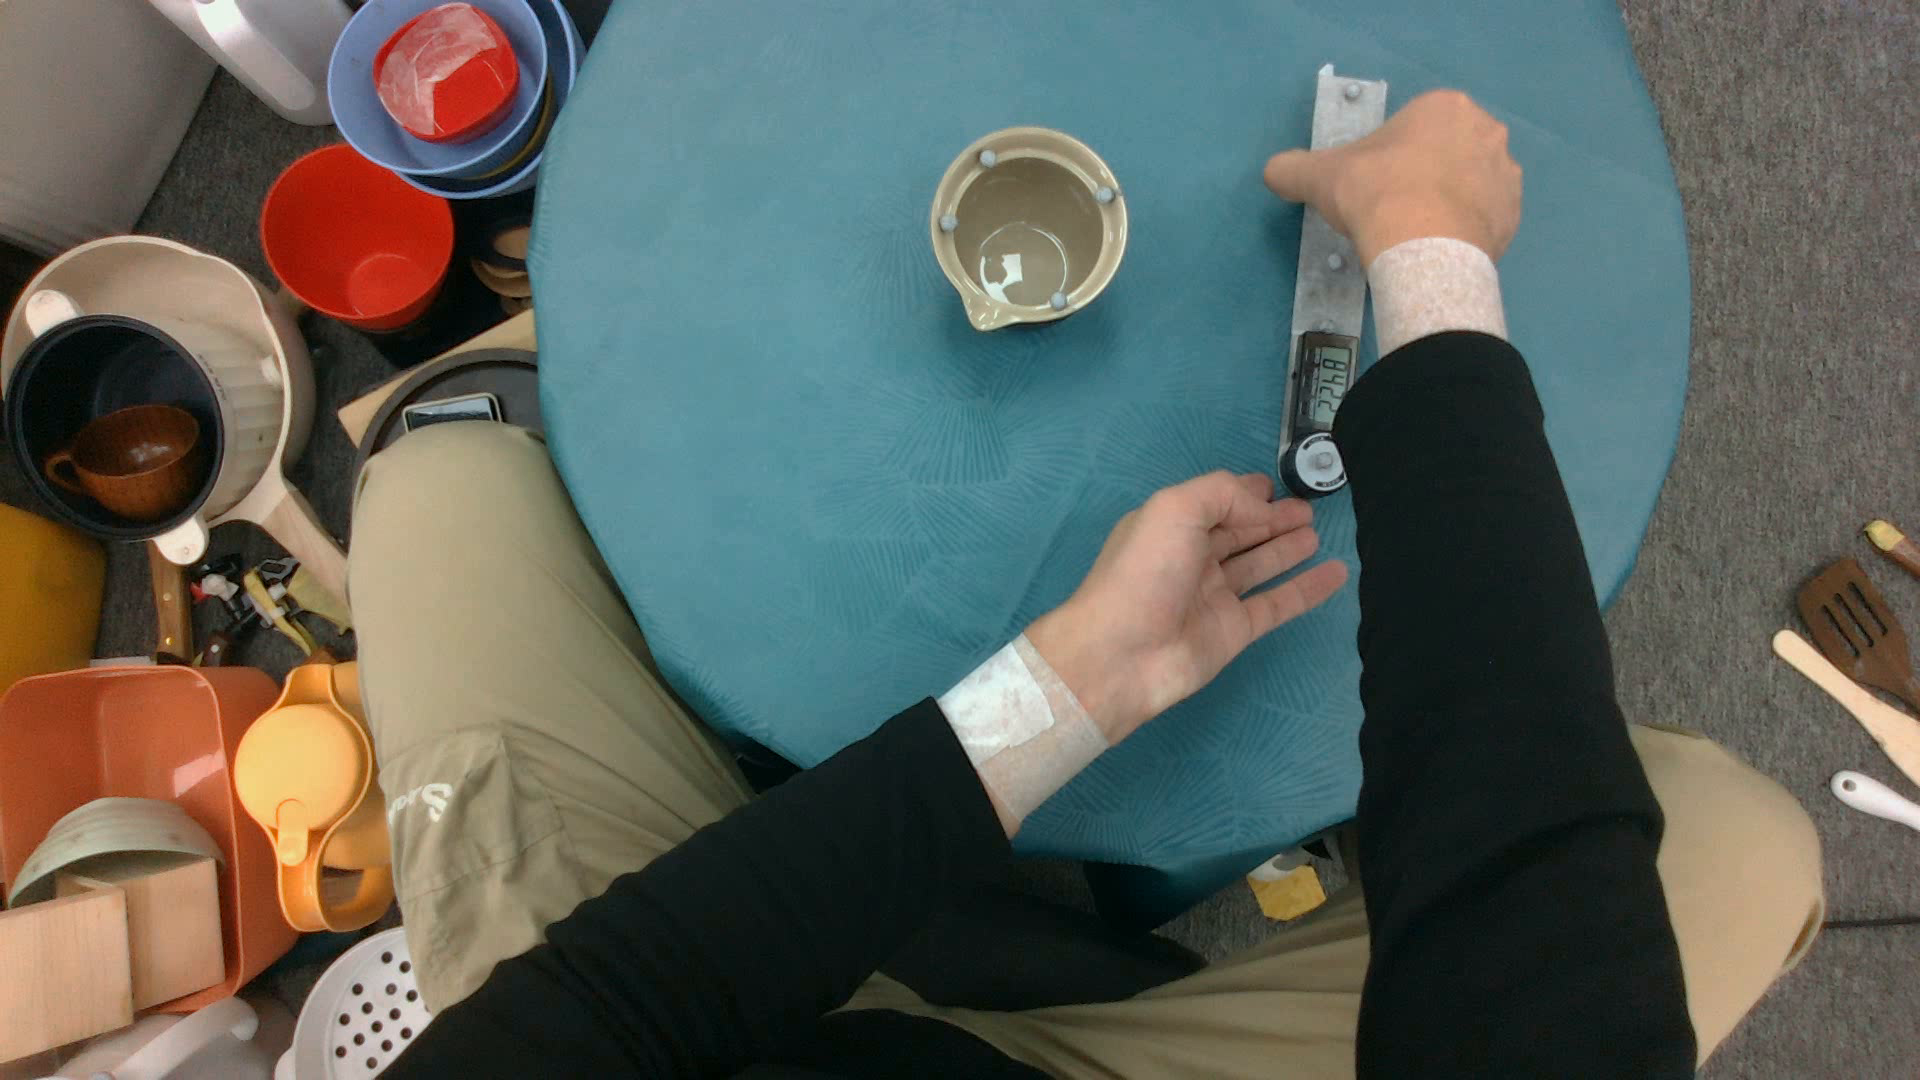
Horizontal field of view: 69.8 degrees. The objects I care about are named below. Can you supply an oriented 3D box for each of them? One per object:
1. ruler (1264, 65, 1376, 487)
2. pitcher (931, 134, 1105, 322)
[{"bbox_3d":[0.186,-0.135,0.699,0.038,0.024,0.218,8,87,-11],"label":"ruler"},{"bbox_3d":[0.024,-0.142,0.677,0.083,0.071,0.096,26,82,1],"label":"pitcher"}]
